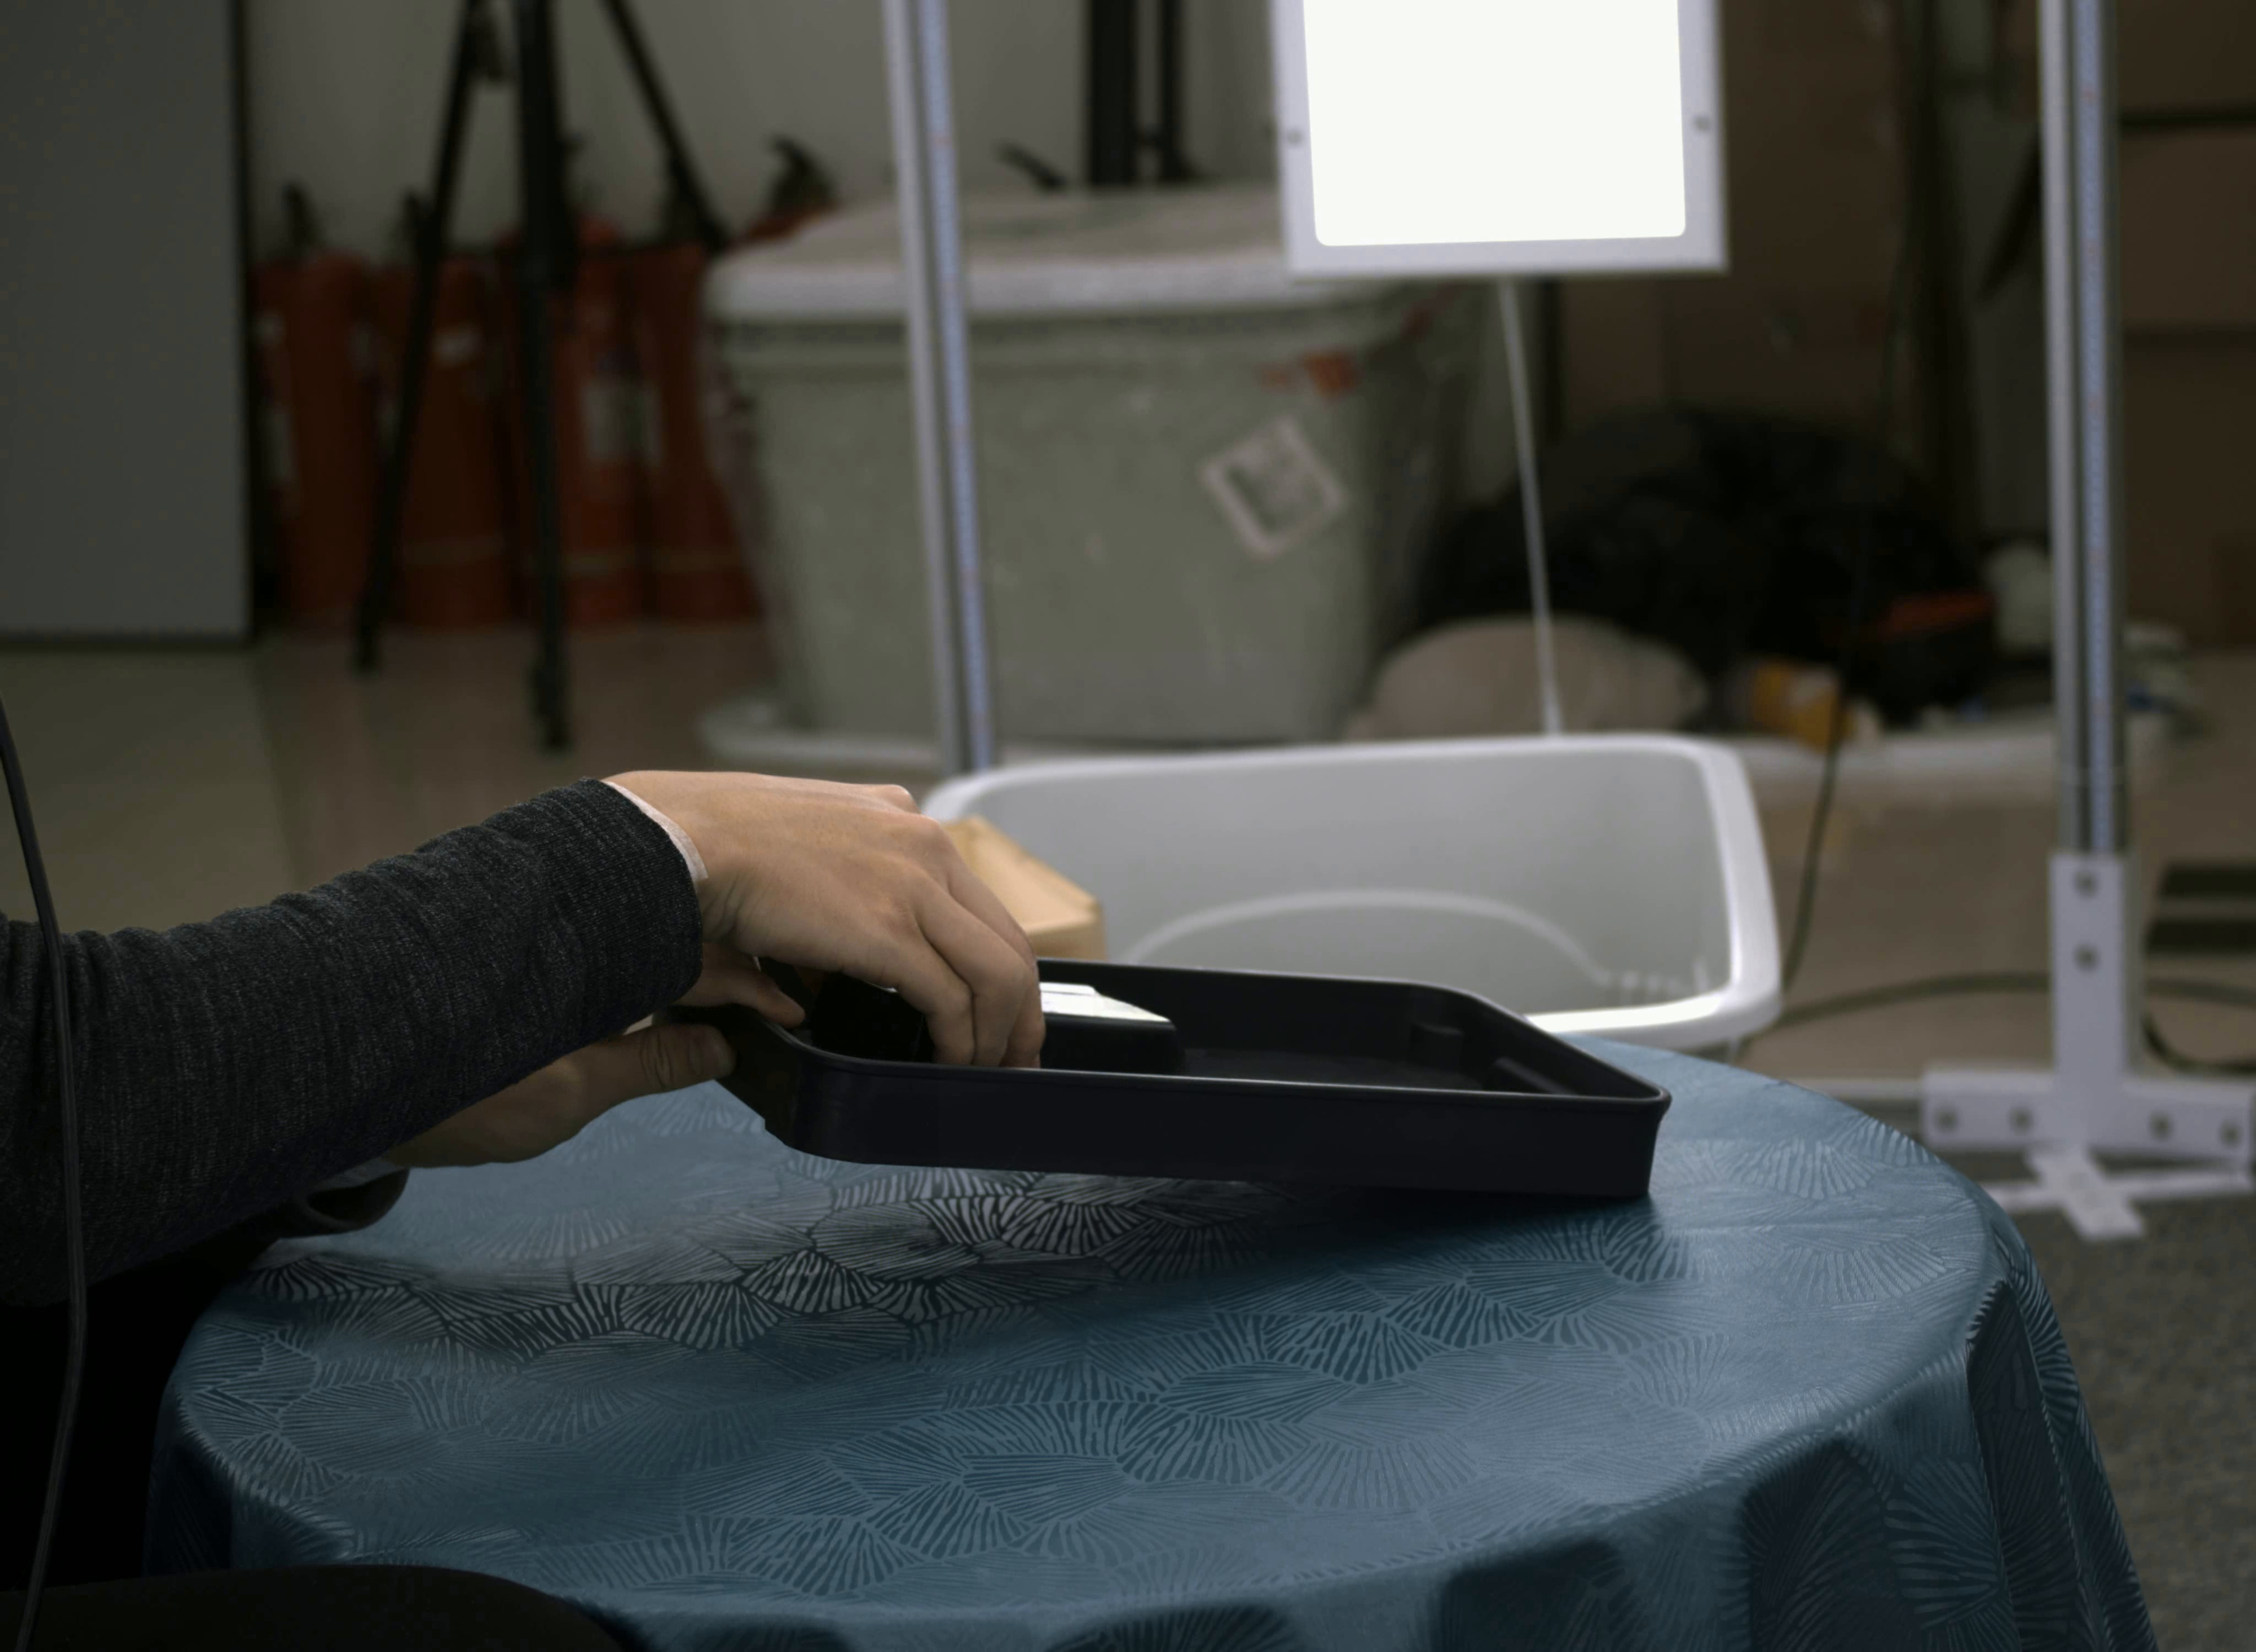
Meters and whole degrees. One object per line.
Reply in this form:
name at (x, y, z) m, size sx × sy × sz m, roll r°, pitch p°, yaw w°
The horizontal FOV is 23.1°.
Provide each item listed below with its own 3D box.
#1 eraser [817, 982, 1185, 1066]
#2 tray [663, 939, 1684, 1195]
eraser at (-0.043, 0.072, 1.840) m, size 0.122 × 0.030 × 0.054 m, roll 4°, pitch 10°, yaw -43°
tray at (0.014, 0.081, 1.863) m, size 0.312 × 0.037 × 0.187 m, roll 3°, pitch 10°, yaw -23°
